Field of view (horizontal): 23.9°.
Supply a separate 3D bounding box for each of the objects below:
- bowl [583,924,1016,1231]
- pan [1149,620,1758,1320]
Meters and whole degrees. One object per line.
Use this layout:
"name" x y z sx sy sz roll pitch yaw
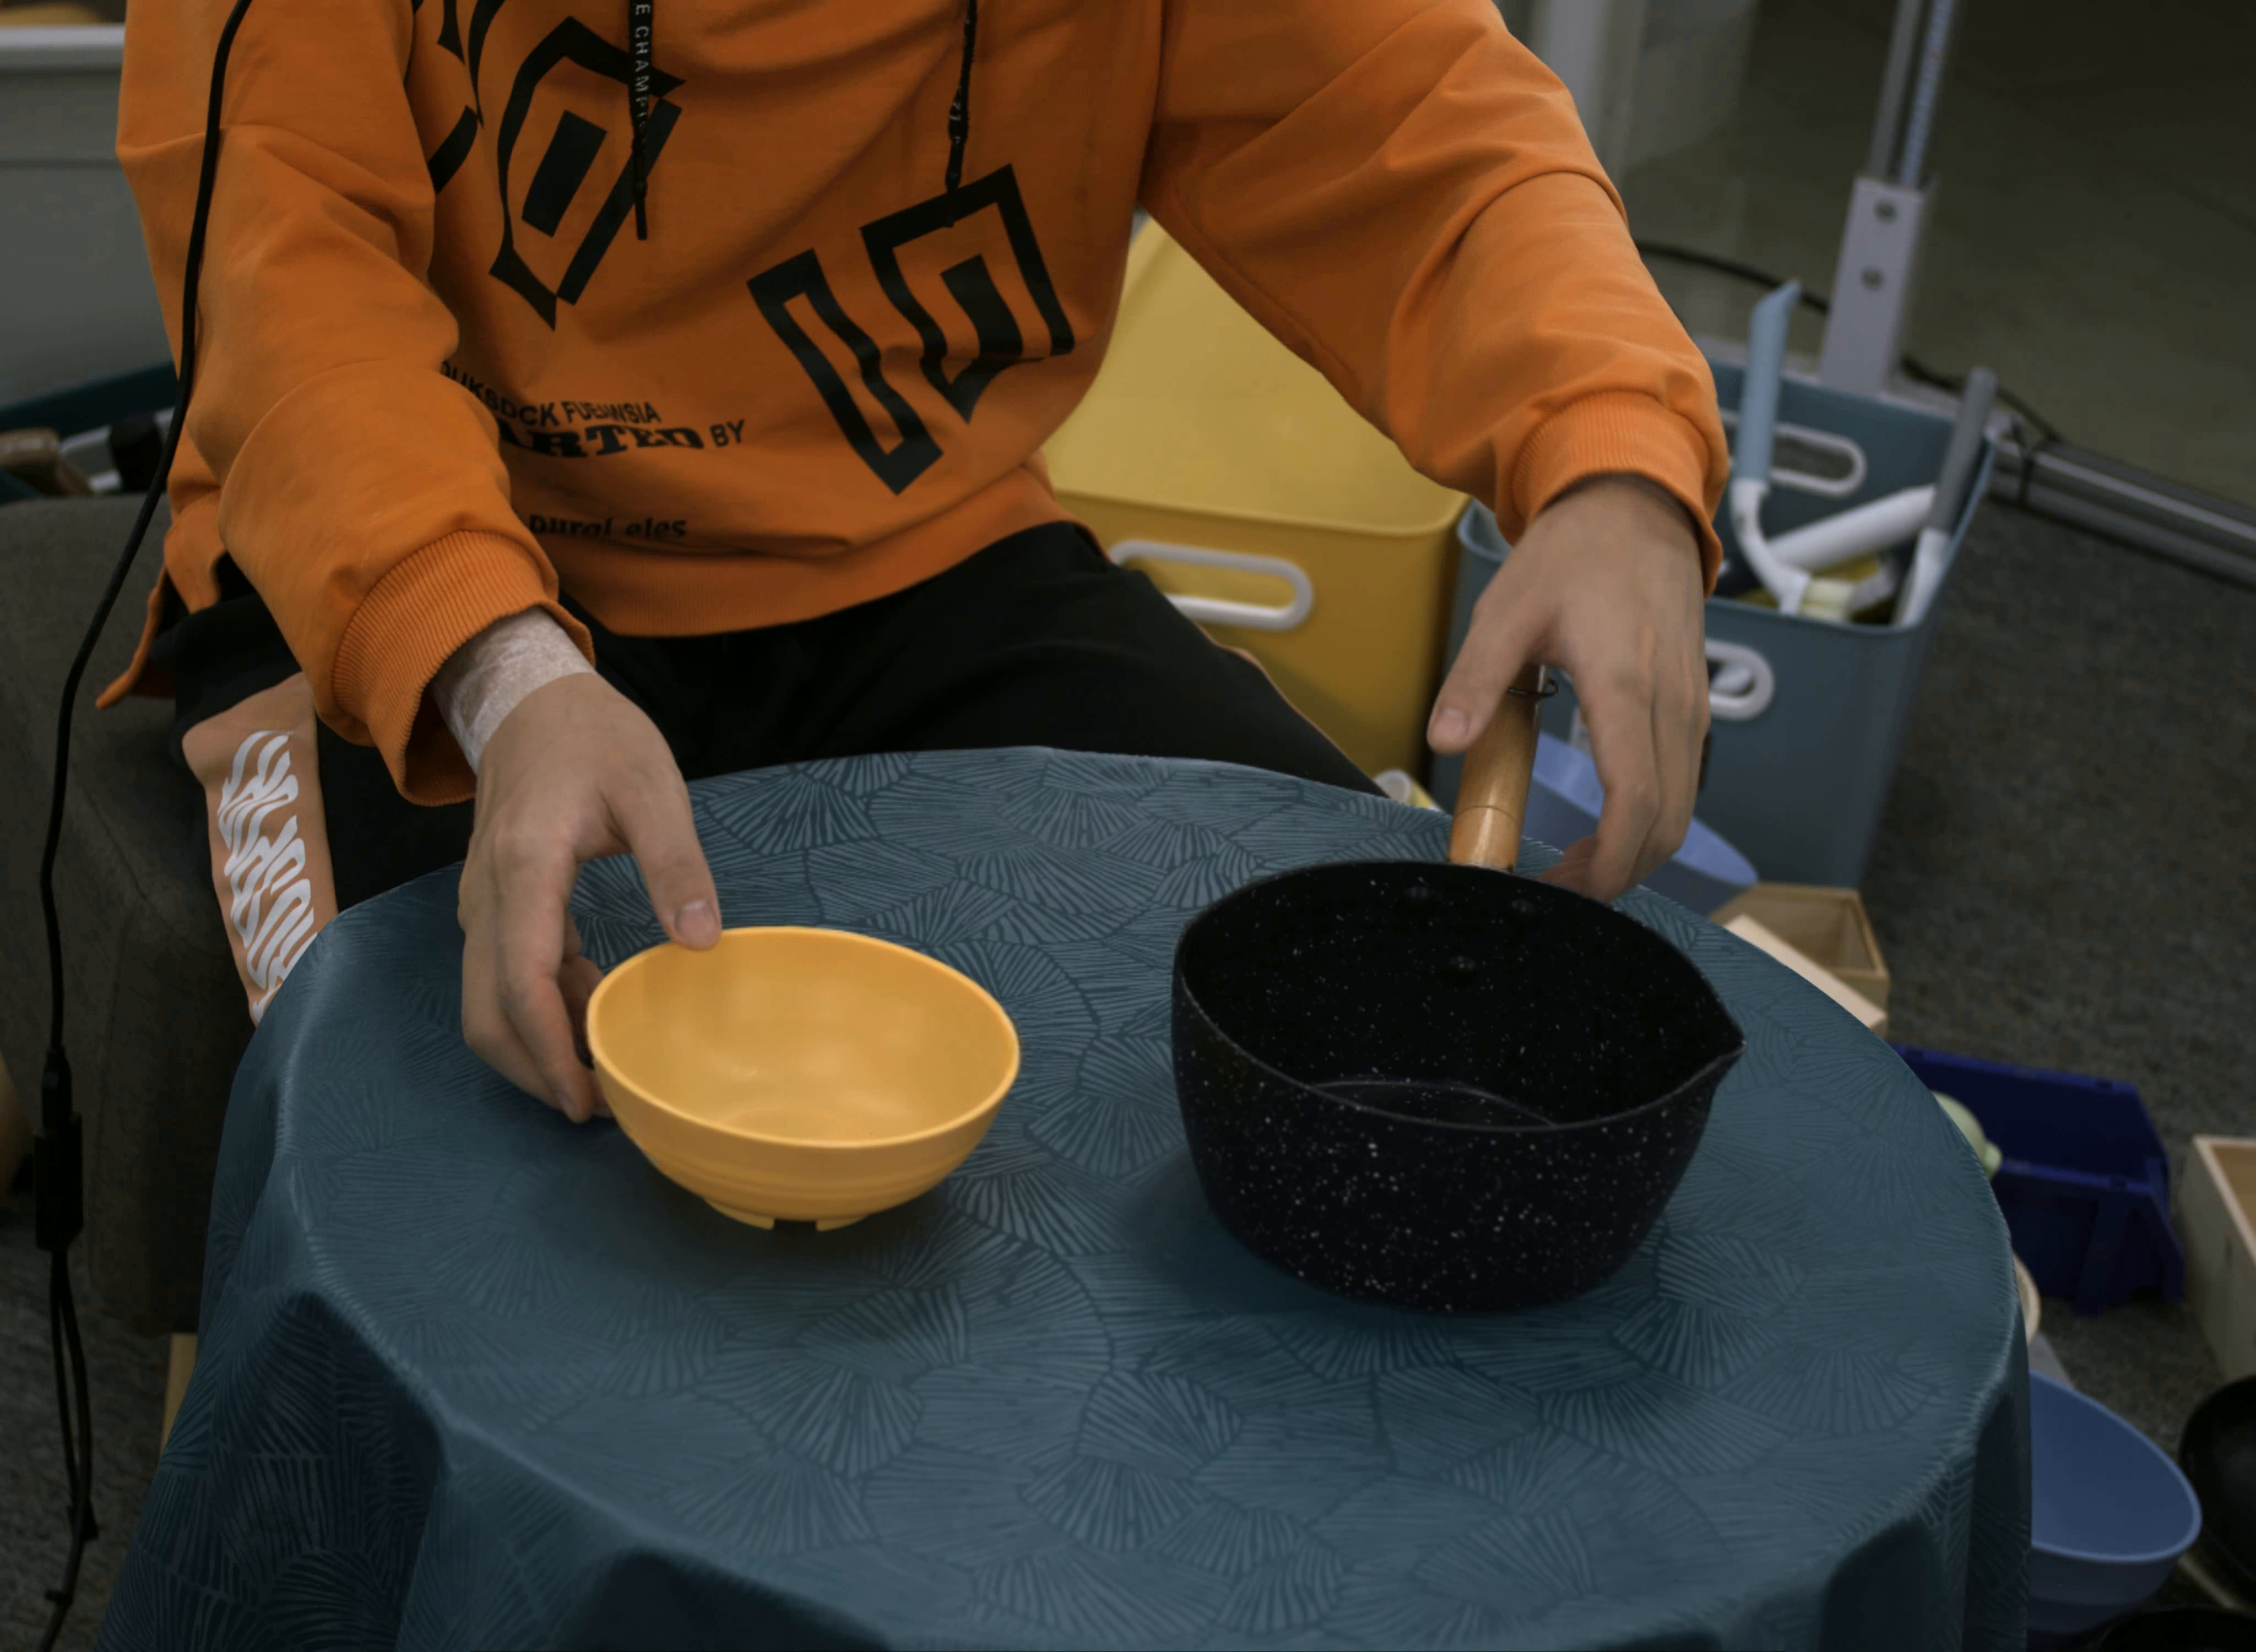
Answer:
"bowl" -0.112 0.093 1.773 0.145 0.060 0.146 6 27 -4
"pan" 0.116 0.046 1.863 0.207 0.108 0.344 8 28 5
